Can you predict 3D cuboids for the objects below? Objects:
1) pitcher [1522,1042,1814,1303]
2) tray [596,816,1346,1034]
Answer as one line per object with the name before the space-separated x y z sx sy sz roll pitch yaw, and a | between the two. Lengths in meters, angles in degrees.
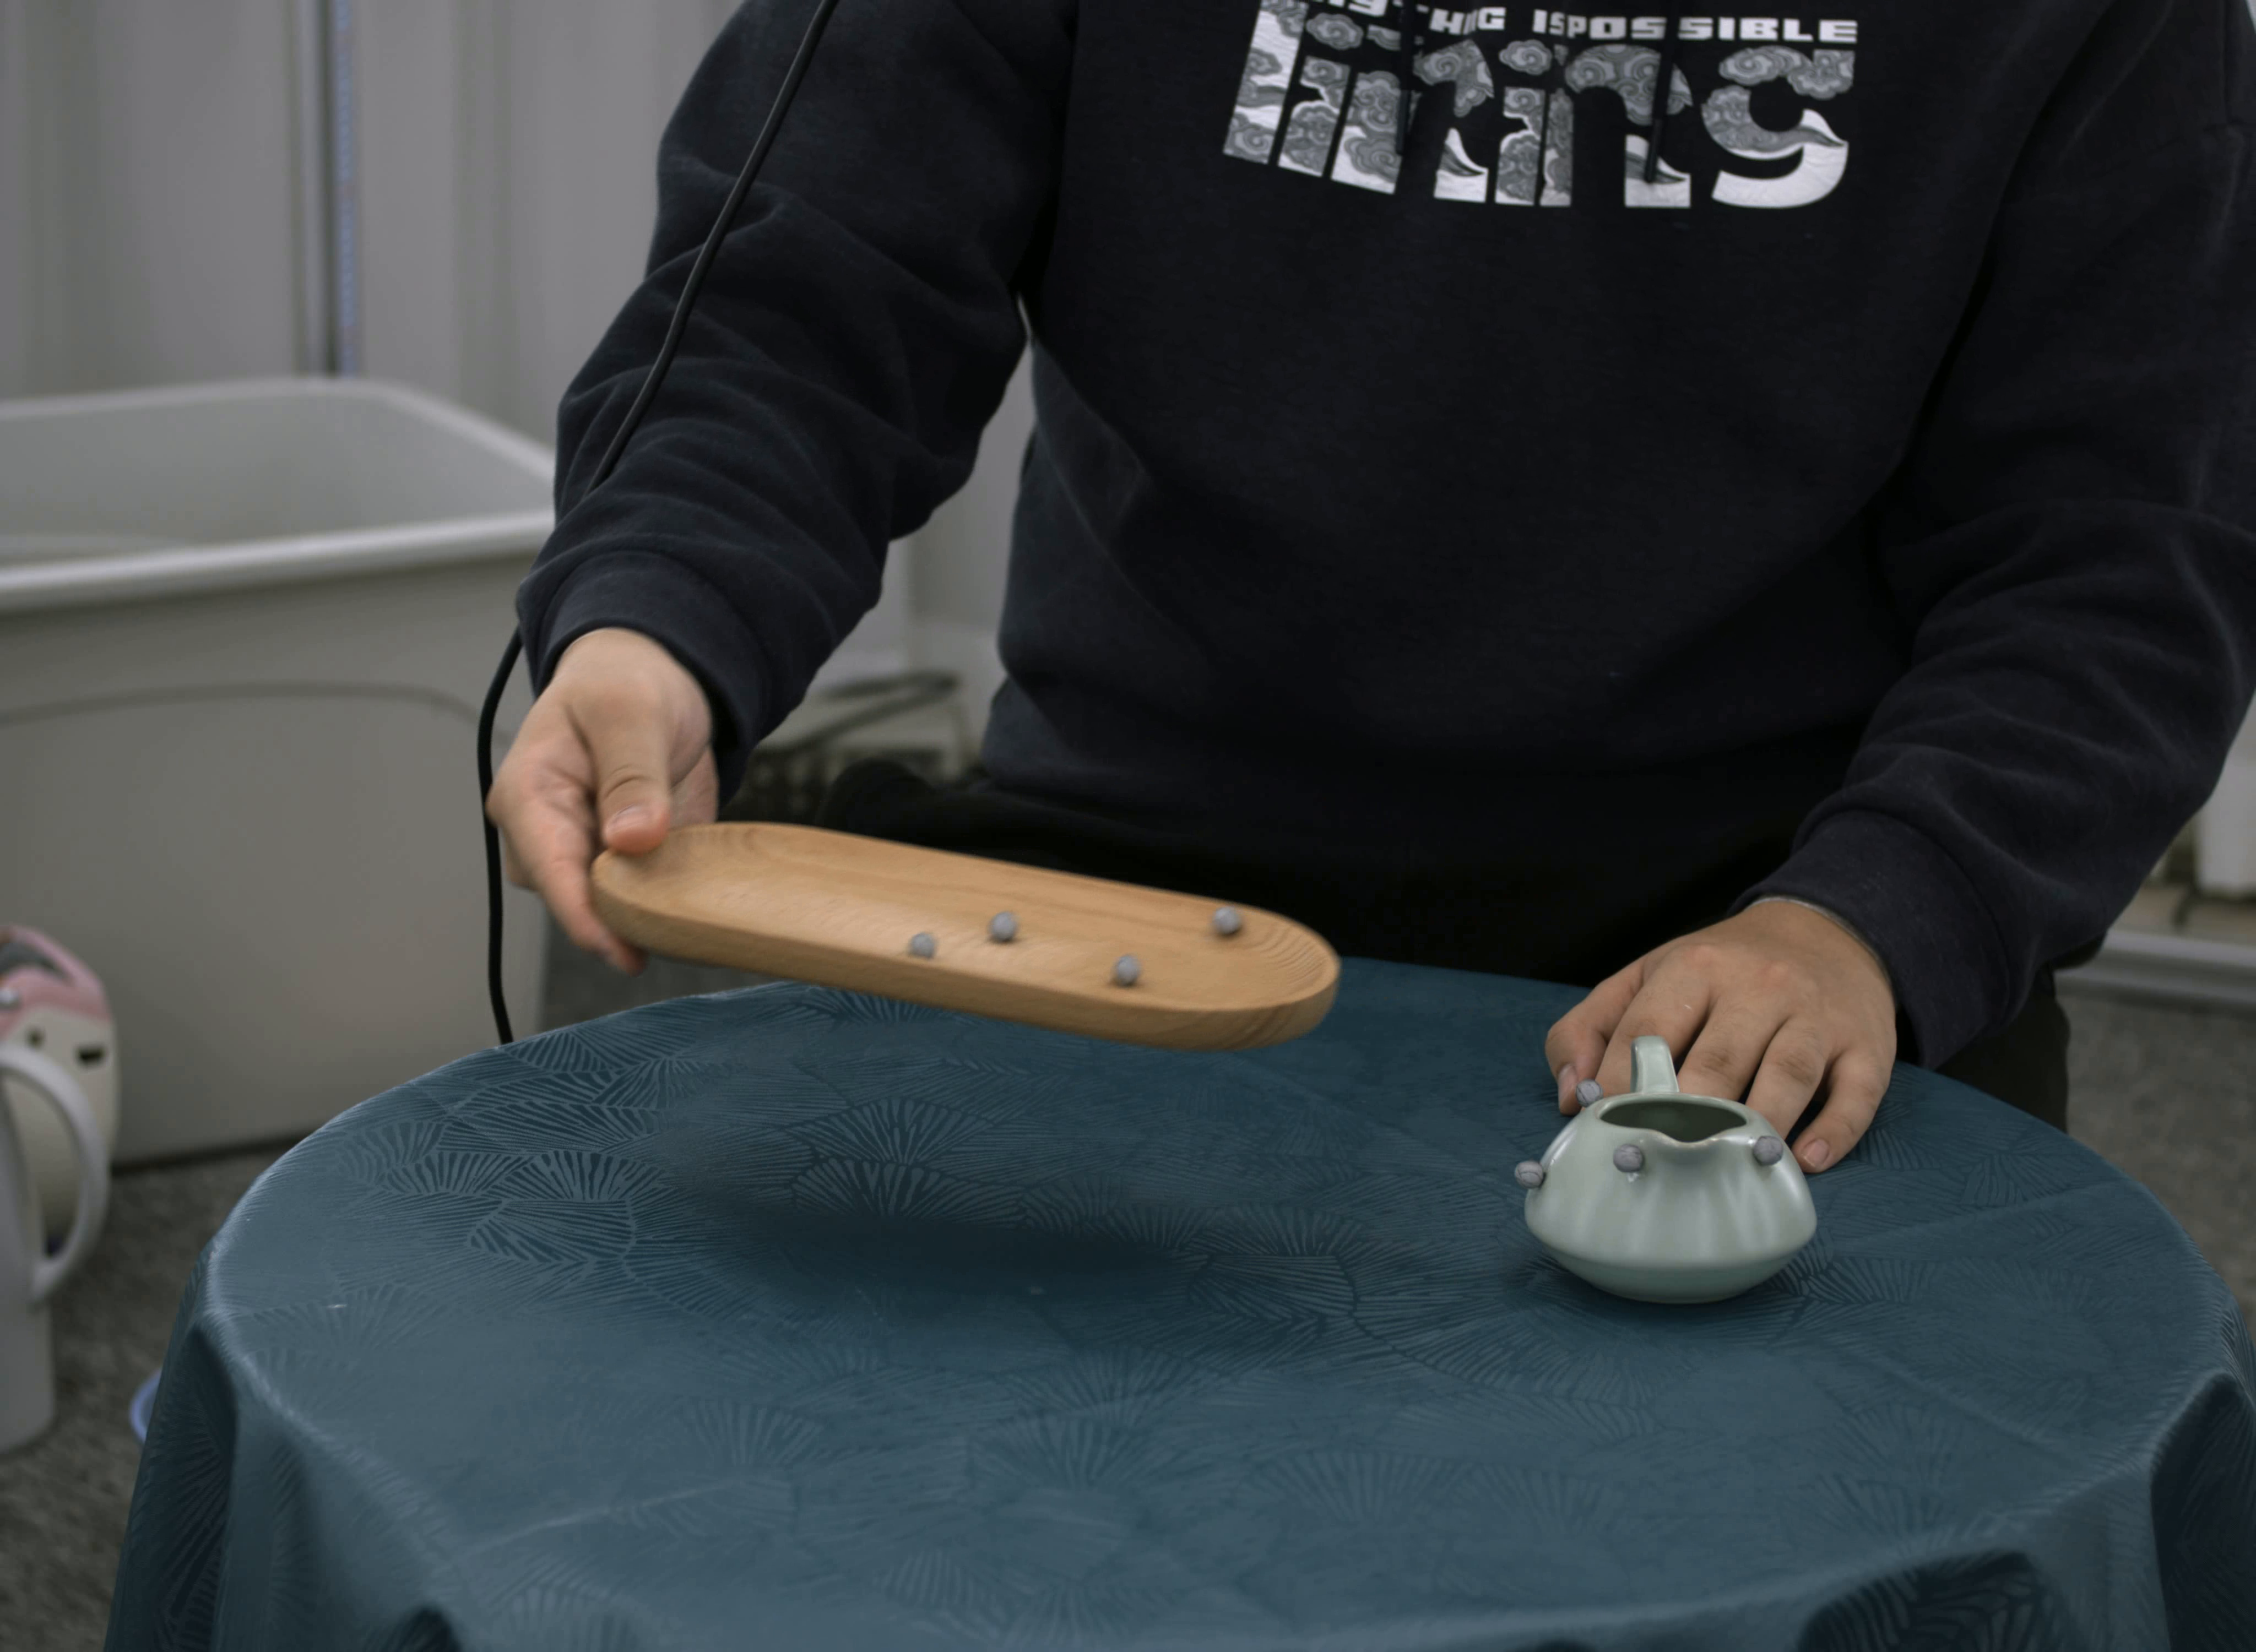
pitcher | 0.158 0.103 1.563 0.086 0.061 0.107 1 13 -4
tray | -0.048 0.029 1.565 0.229 0.020 0.102 8 17 16
